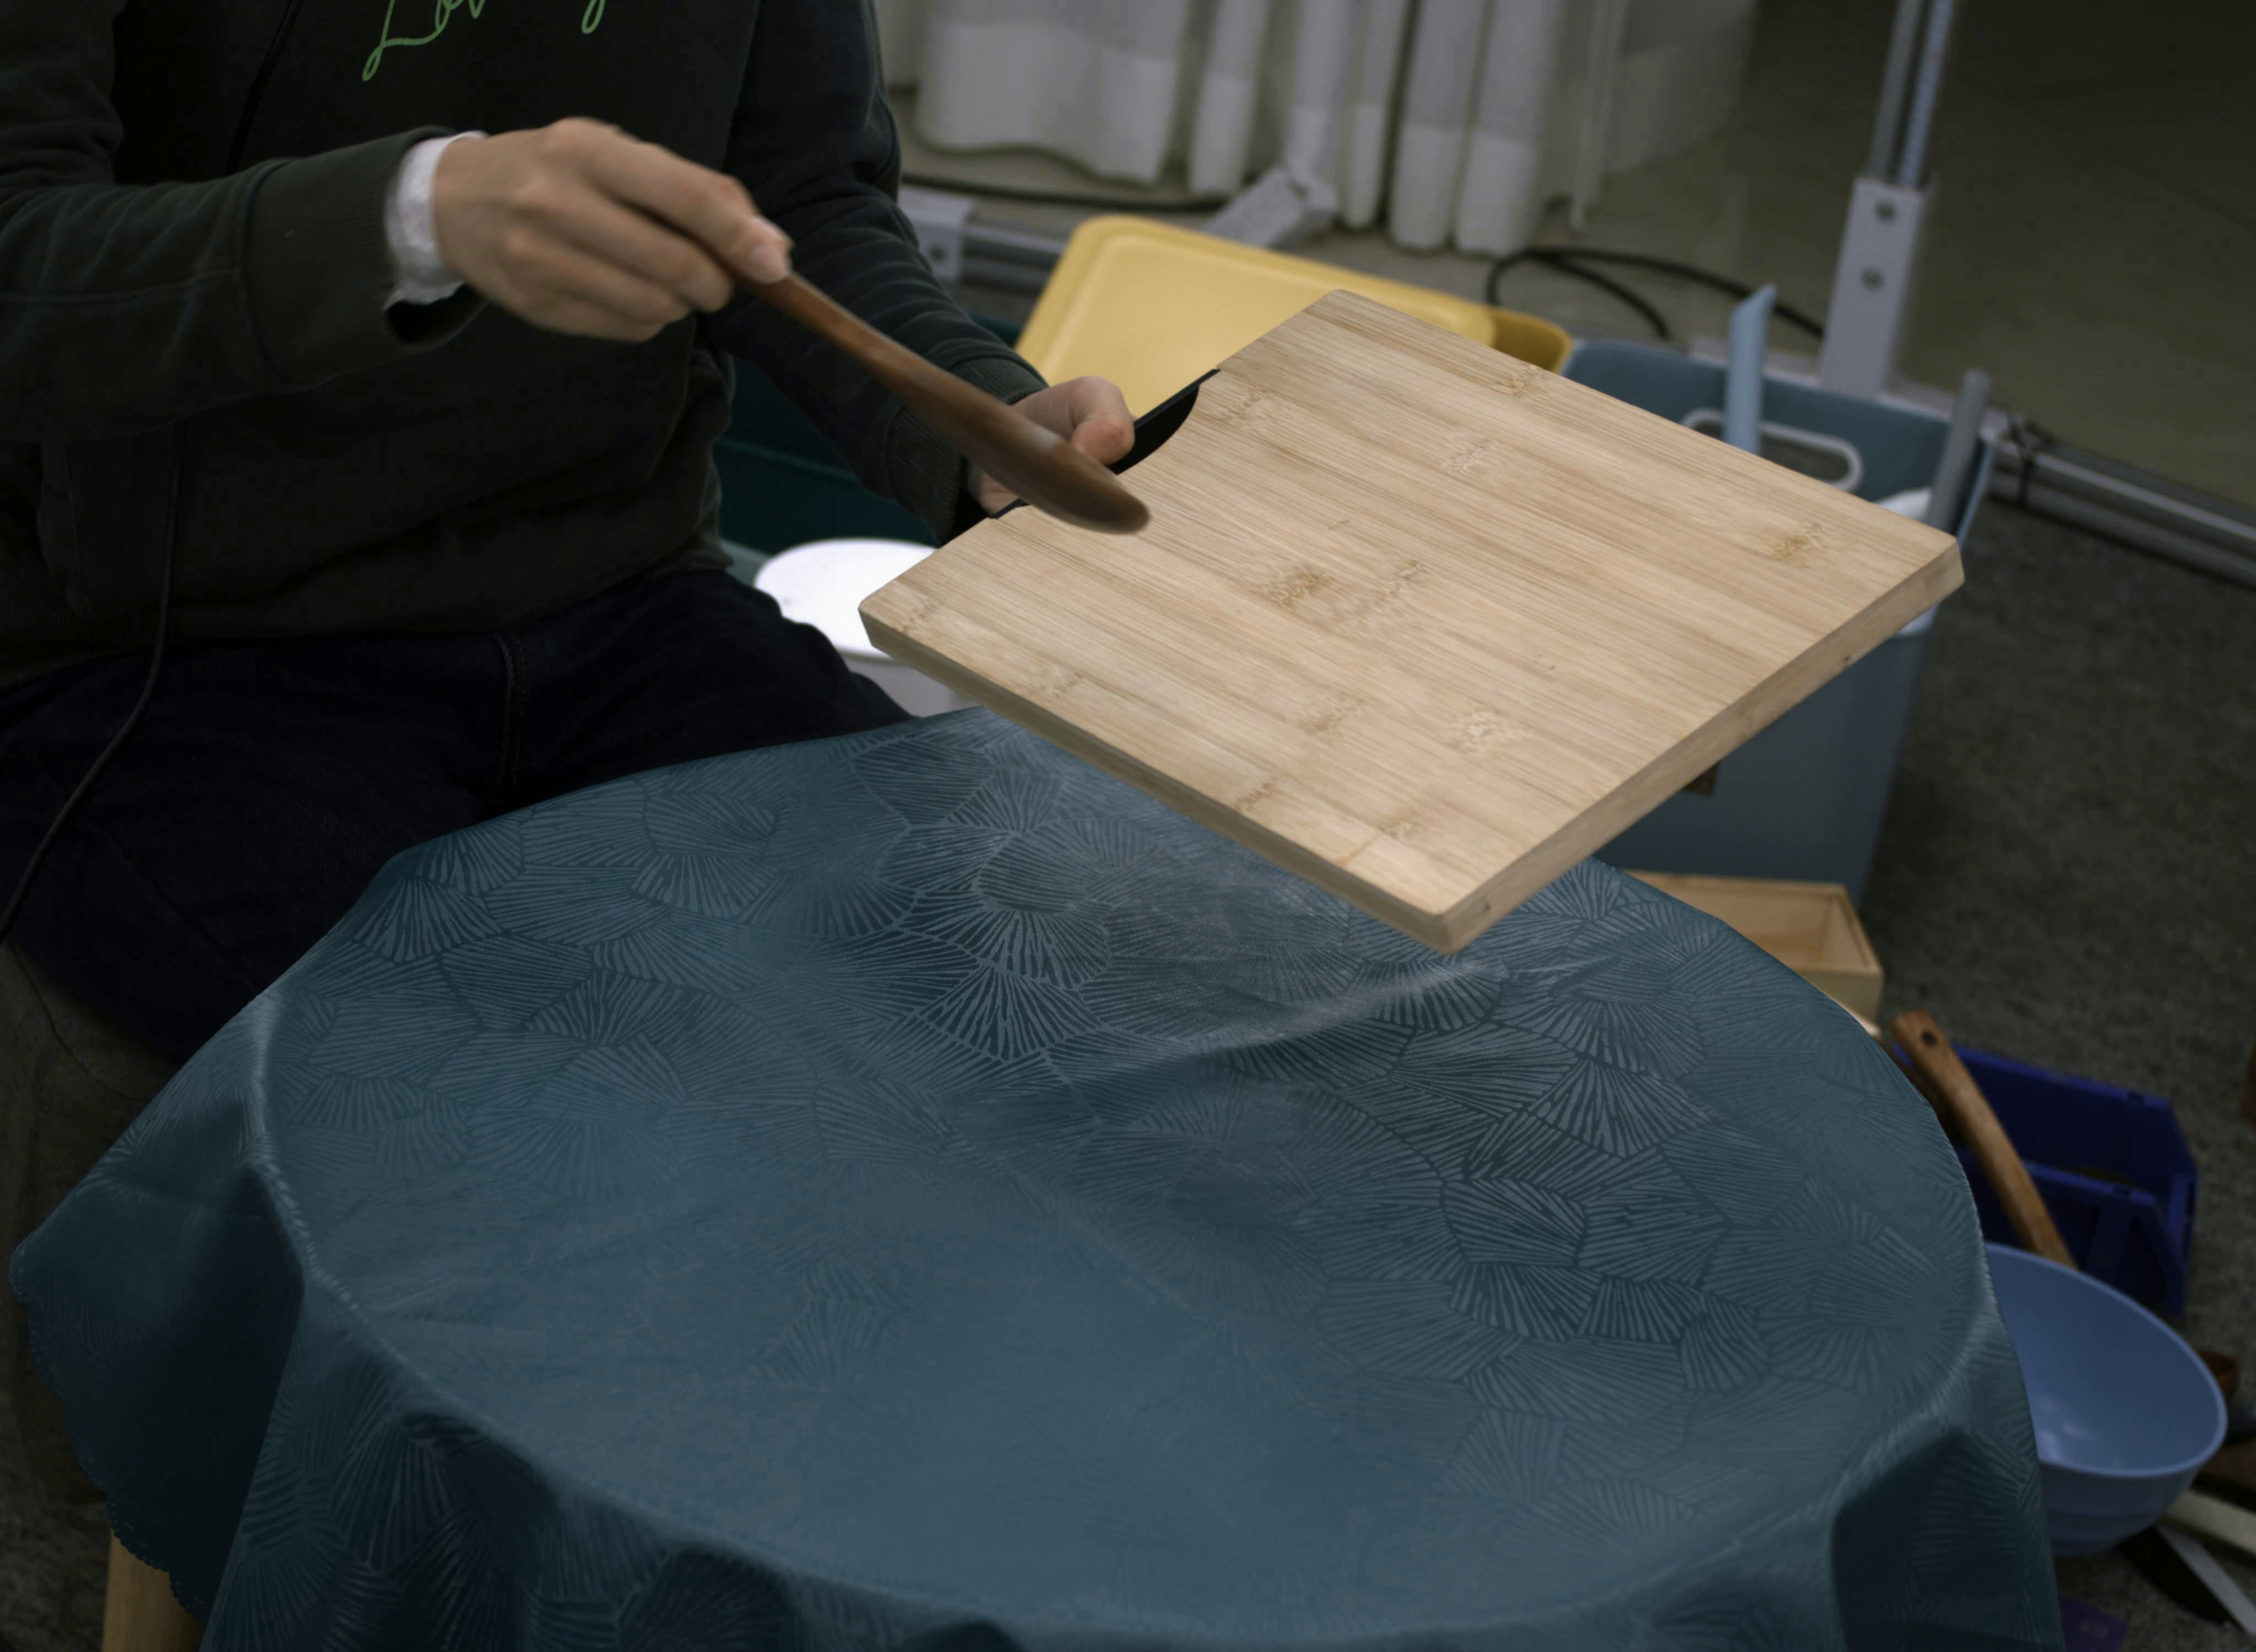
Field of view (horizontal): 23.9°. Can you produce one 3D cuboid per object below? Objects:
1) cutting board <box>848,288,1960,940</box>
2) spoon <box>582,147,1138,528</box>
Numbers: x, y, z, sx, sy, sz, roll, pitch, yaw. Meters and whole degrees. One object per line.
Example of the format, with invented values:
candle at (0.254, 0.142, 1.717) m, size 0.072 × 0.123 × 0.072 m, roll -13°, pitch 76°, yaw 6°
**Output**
cutting board at (0.089, -0.084, 1.882) m, size 0.250 × 0.023 × 0.351 m, roll -34°, pitch 36°, yaw -23°
spoon at (-0.089, -0.157, 1.759) m, size 0.215 × 0.017 × 0.075 m, roll 34°, pitch -3°, yaw -8°
